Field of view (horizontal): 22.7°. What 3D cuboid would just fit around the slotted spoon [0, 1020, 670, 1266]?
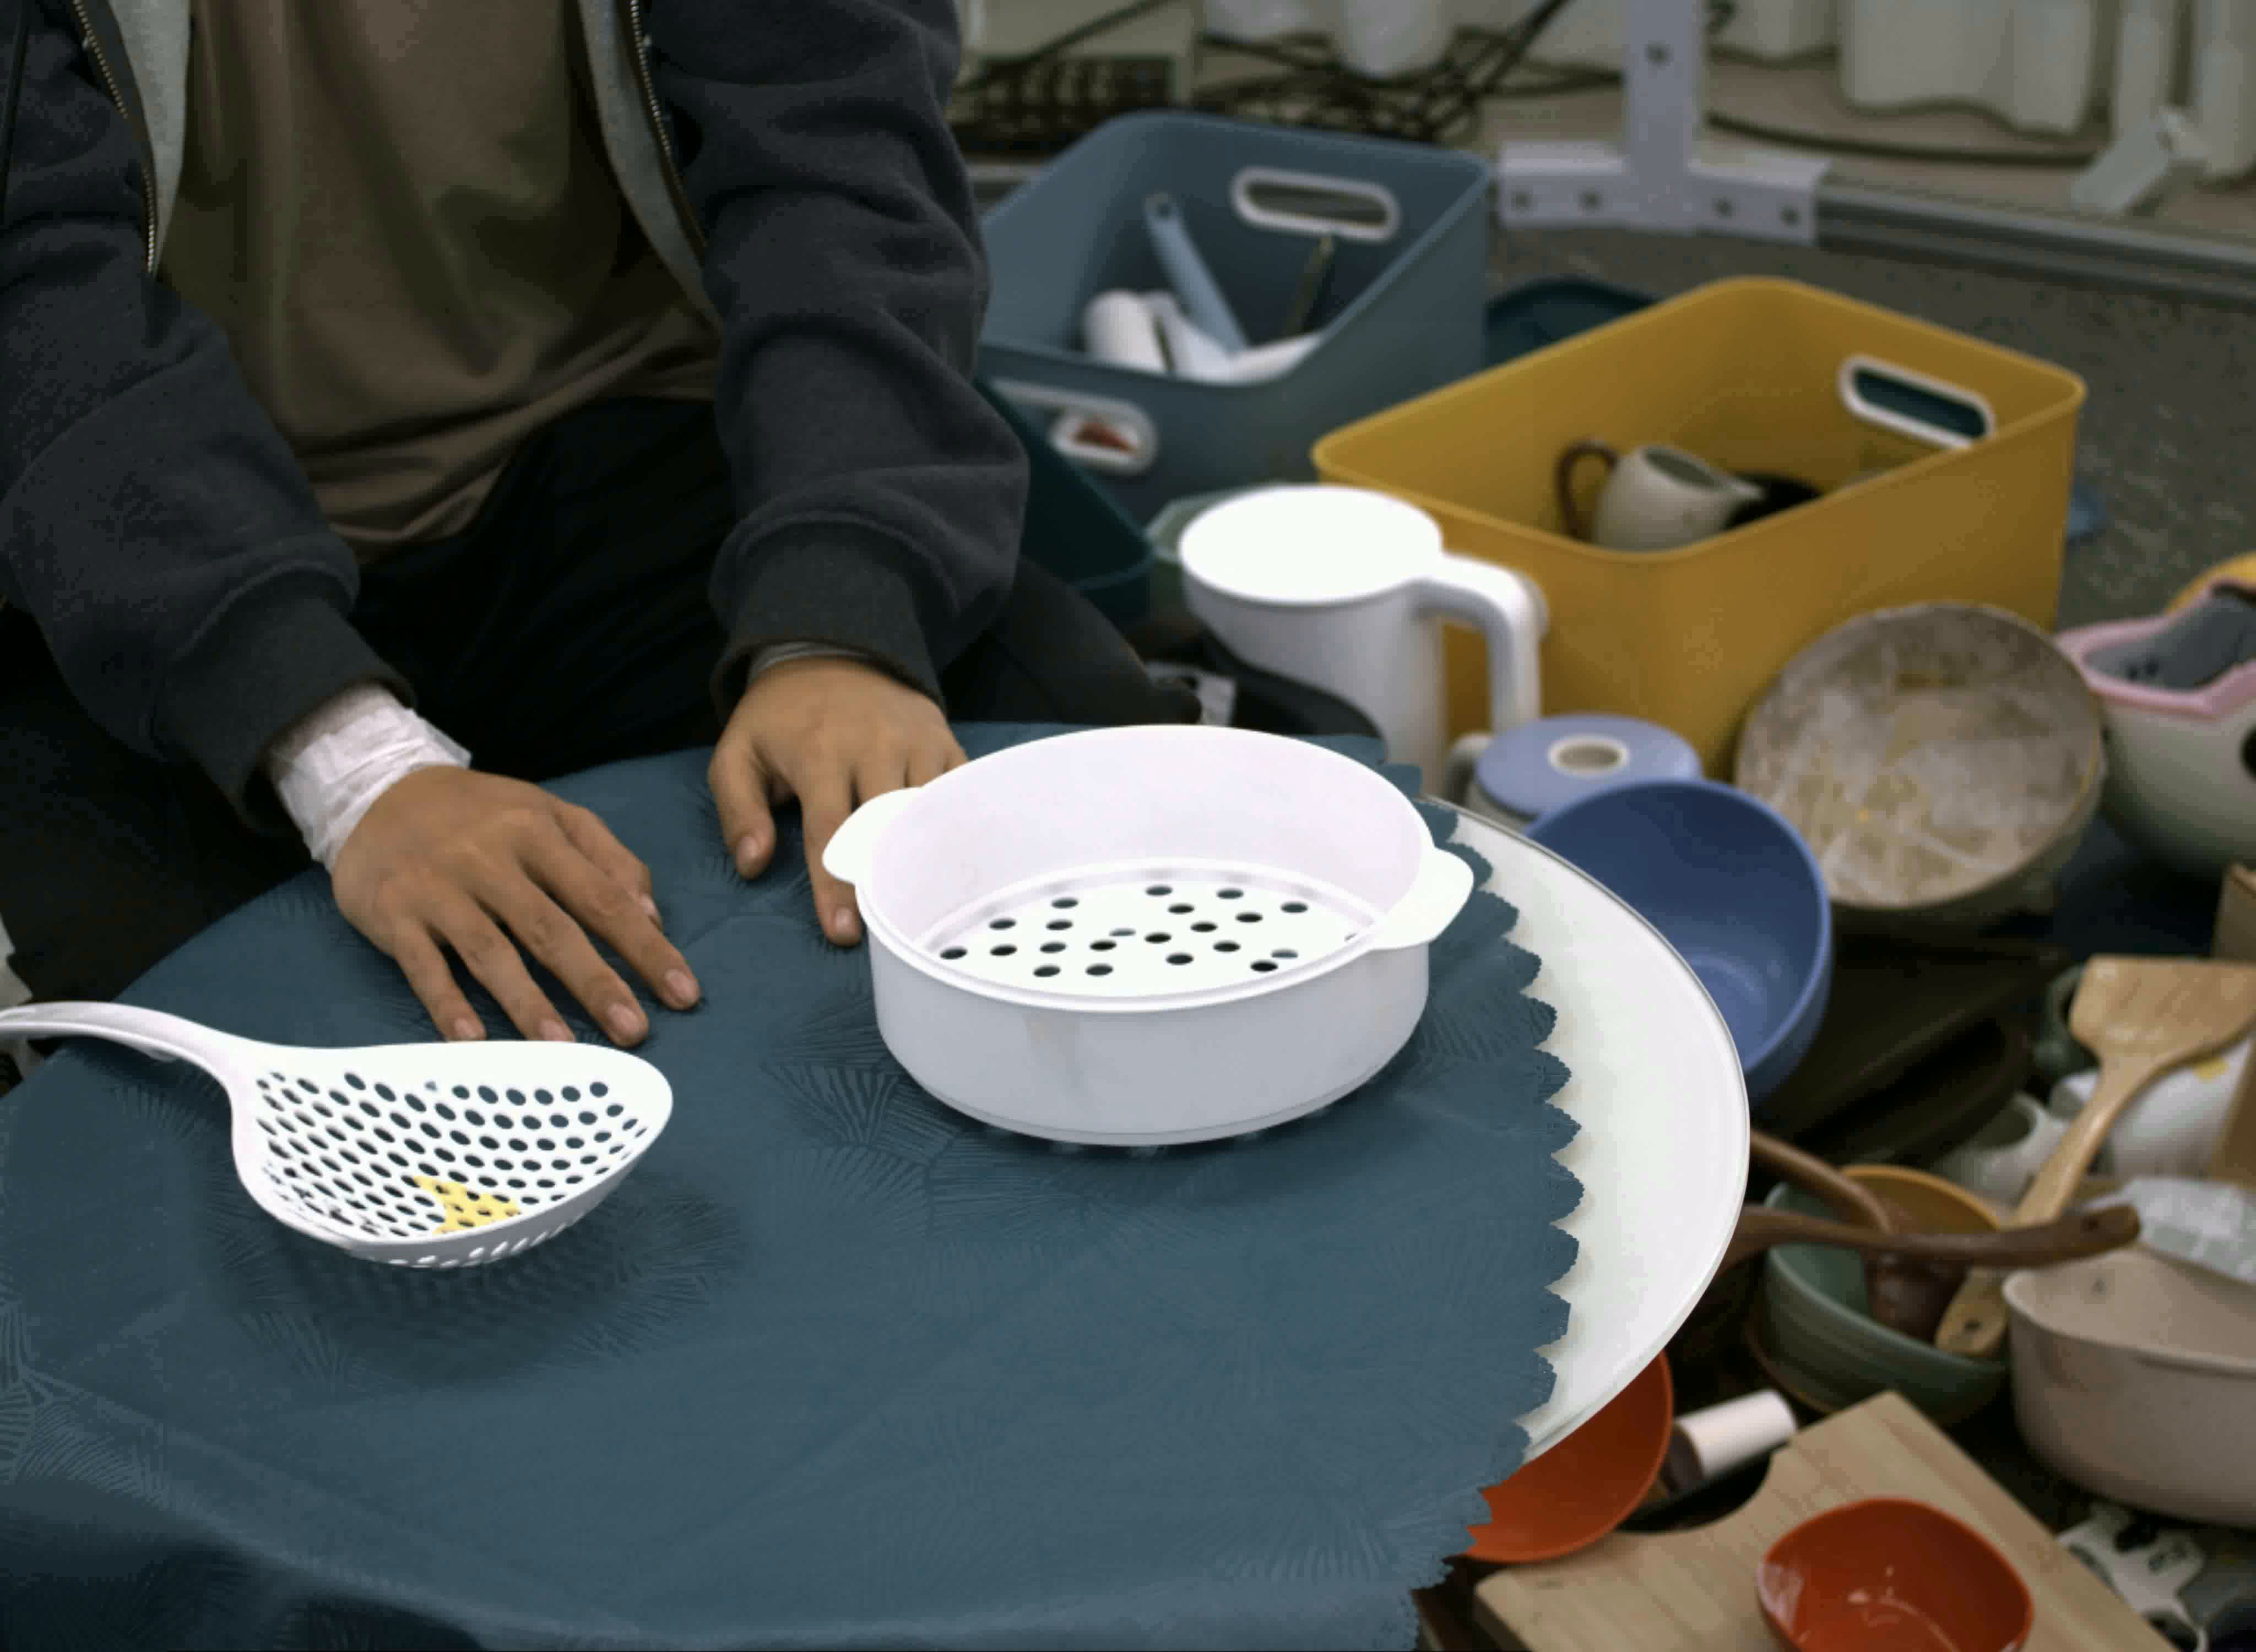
[{"bbox_3d":[-0.294,0.095,1.917,0.346,0.050,0.139,15,37,40],"label":"slotted spoon"}]

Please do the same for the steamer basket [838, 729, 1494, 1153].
[{"bbox_3d":[0.012,0.040,1.947,0.229,0.068,0.205,9,29,17],"label":"steamer basket"}]
